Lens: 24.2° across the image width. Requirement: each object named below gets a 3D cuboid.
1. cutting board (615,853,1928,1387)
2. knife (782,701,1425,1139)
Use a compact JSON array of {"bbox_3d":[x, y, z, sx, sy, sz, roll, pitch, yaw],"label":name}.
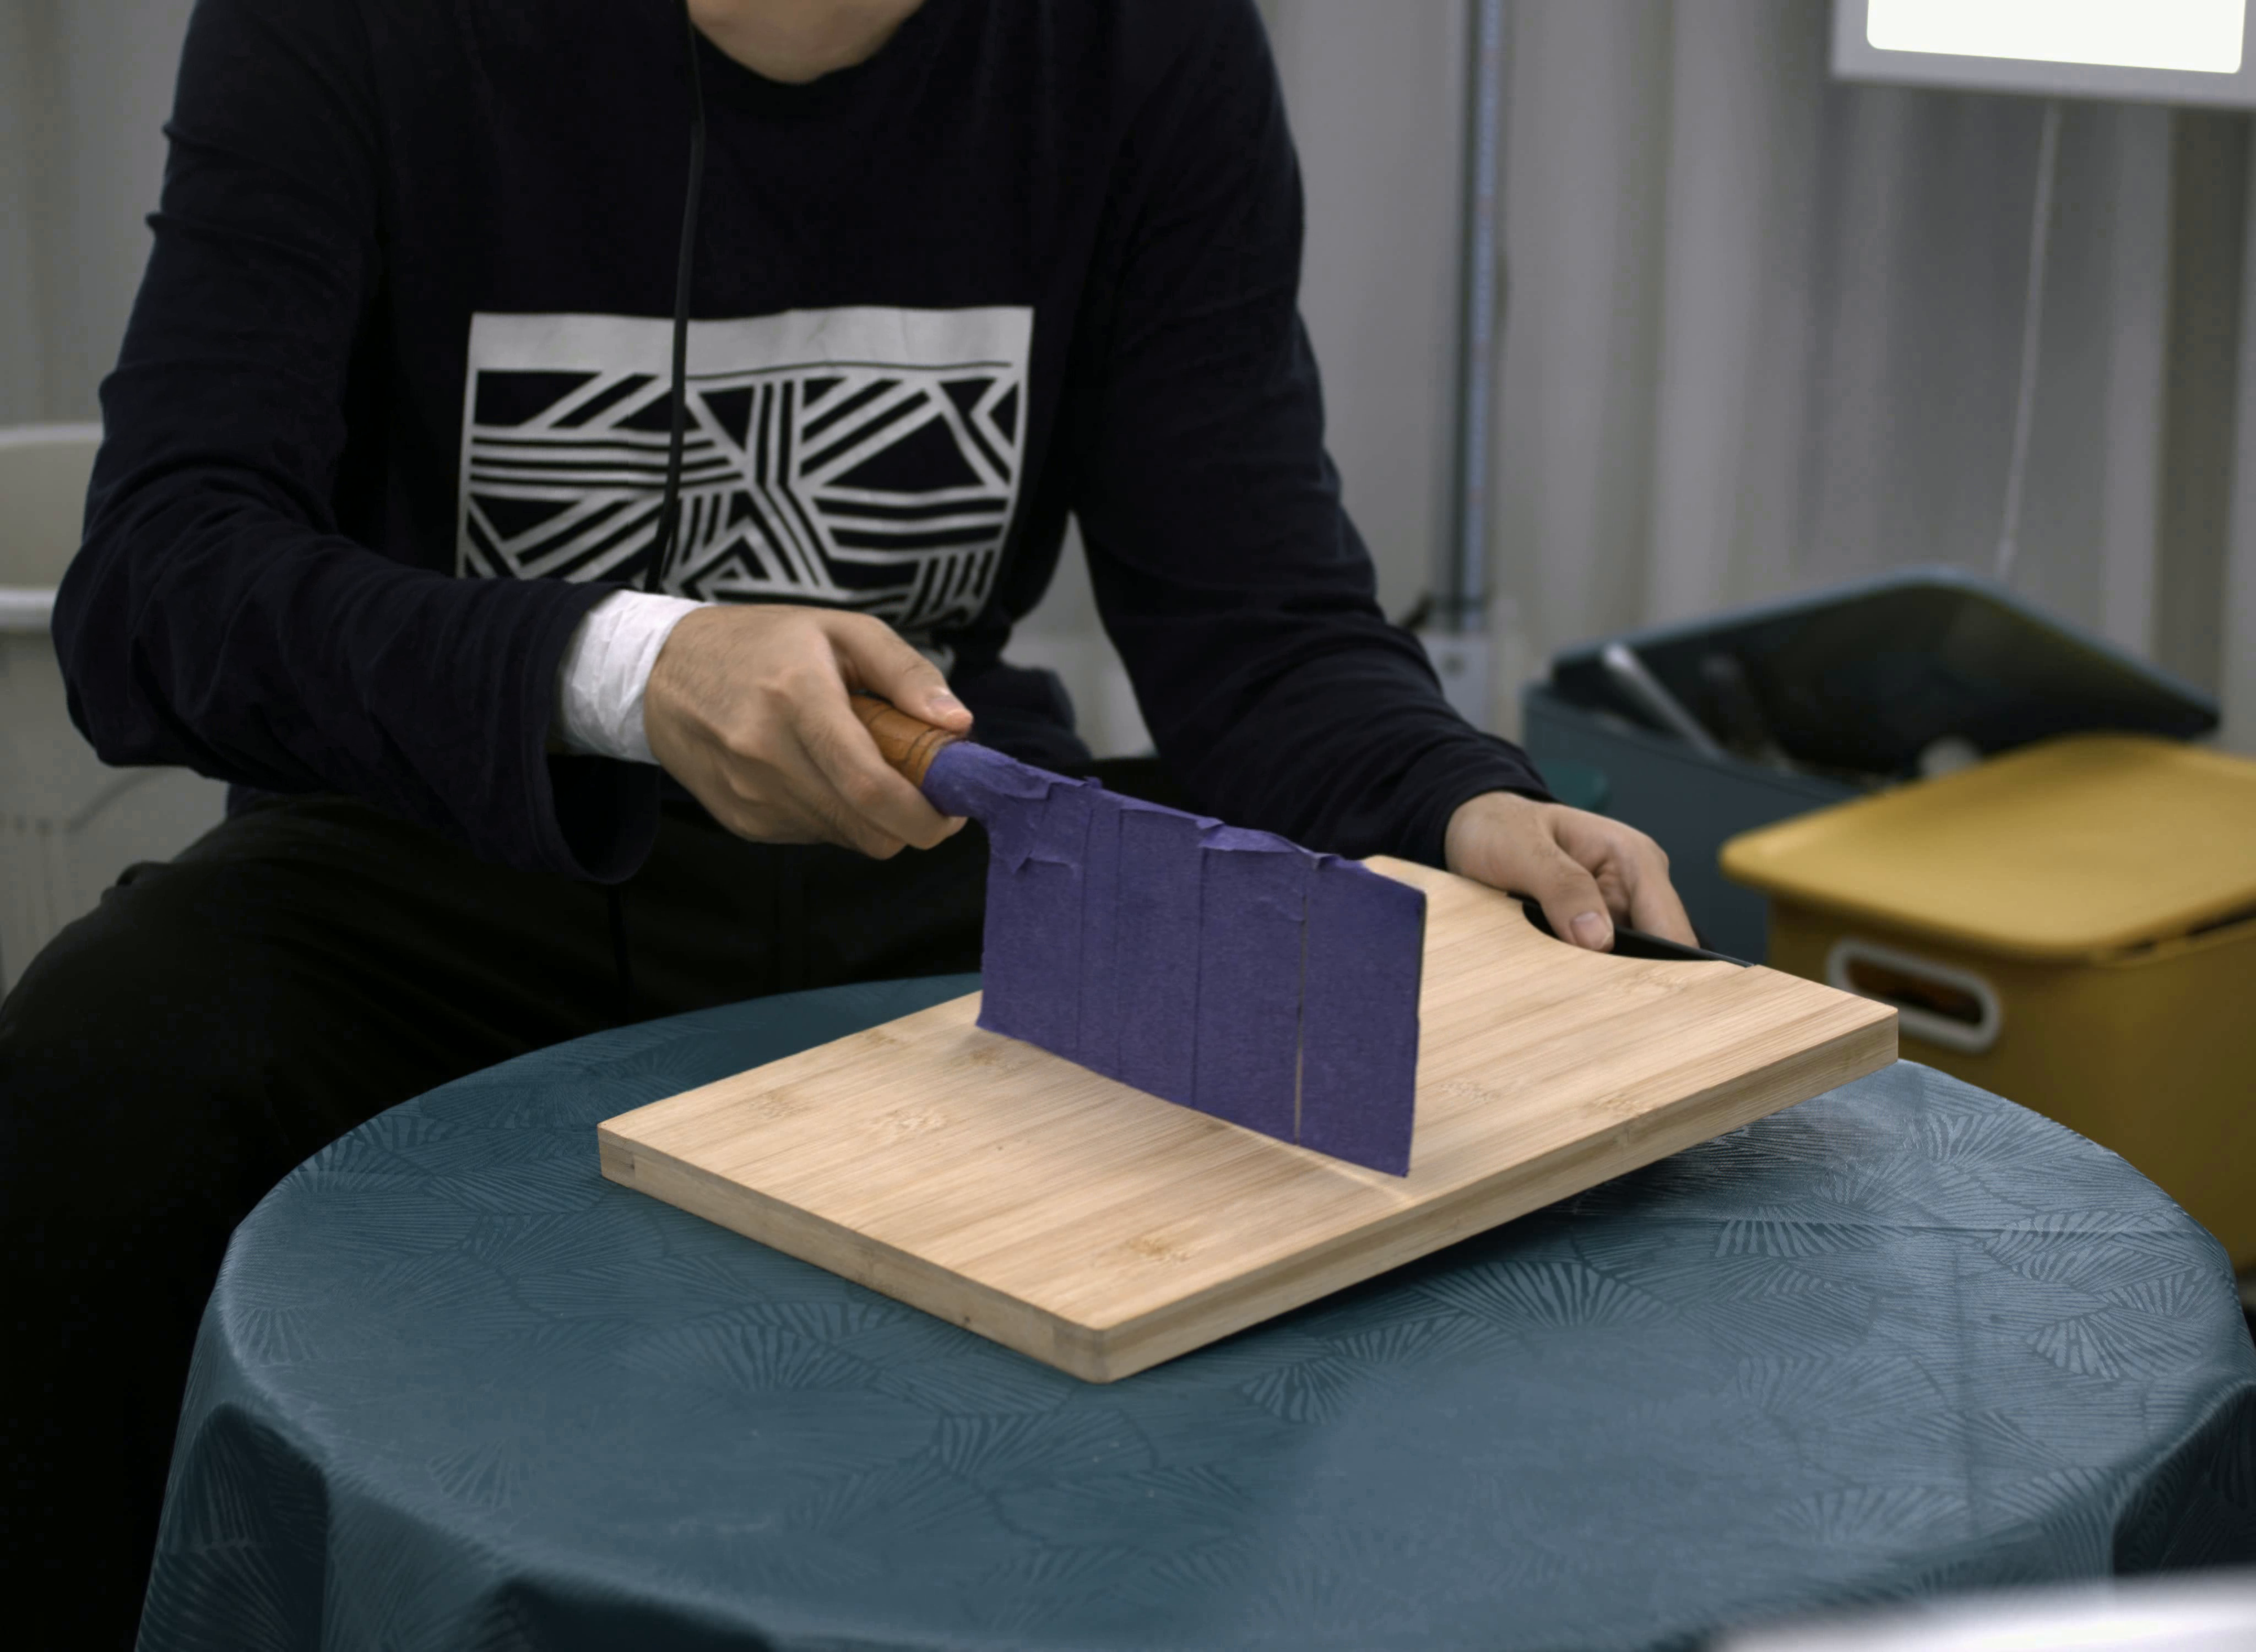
[{"bbox_3d":[0.045,0.083,1.655,0.350,0.024,0.247,-18,24,-39],"label":"cutting board"},{"bbox_3d":[-0.013,0.028,1.642,0.032,0.104,0.311,-5,14,-37],"label":"knife"}]
